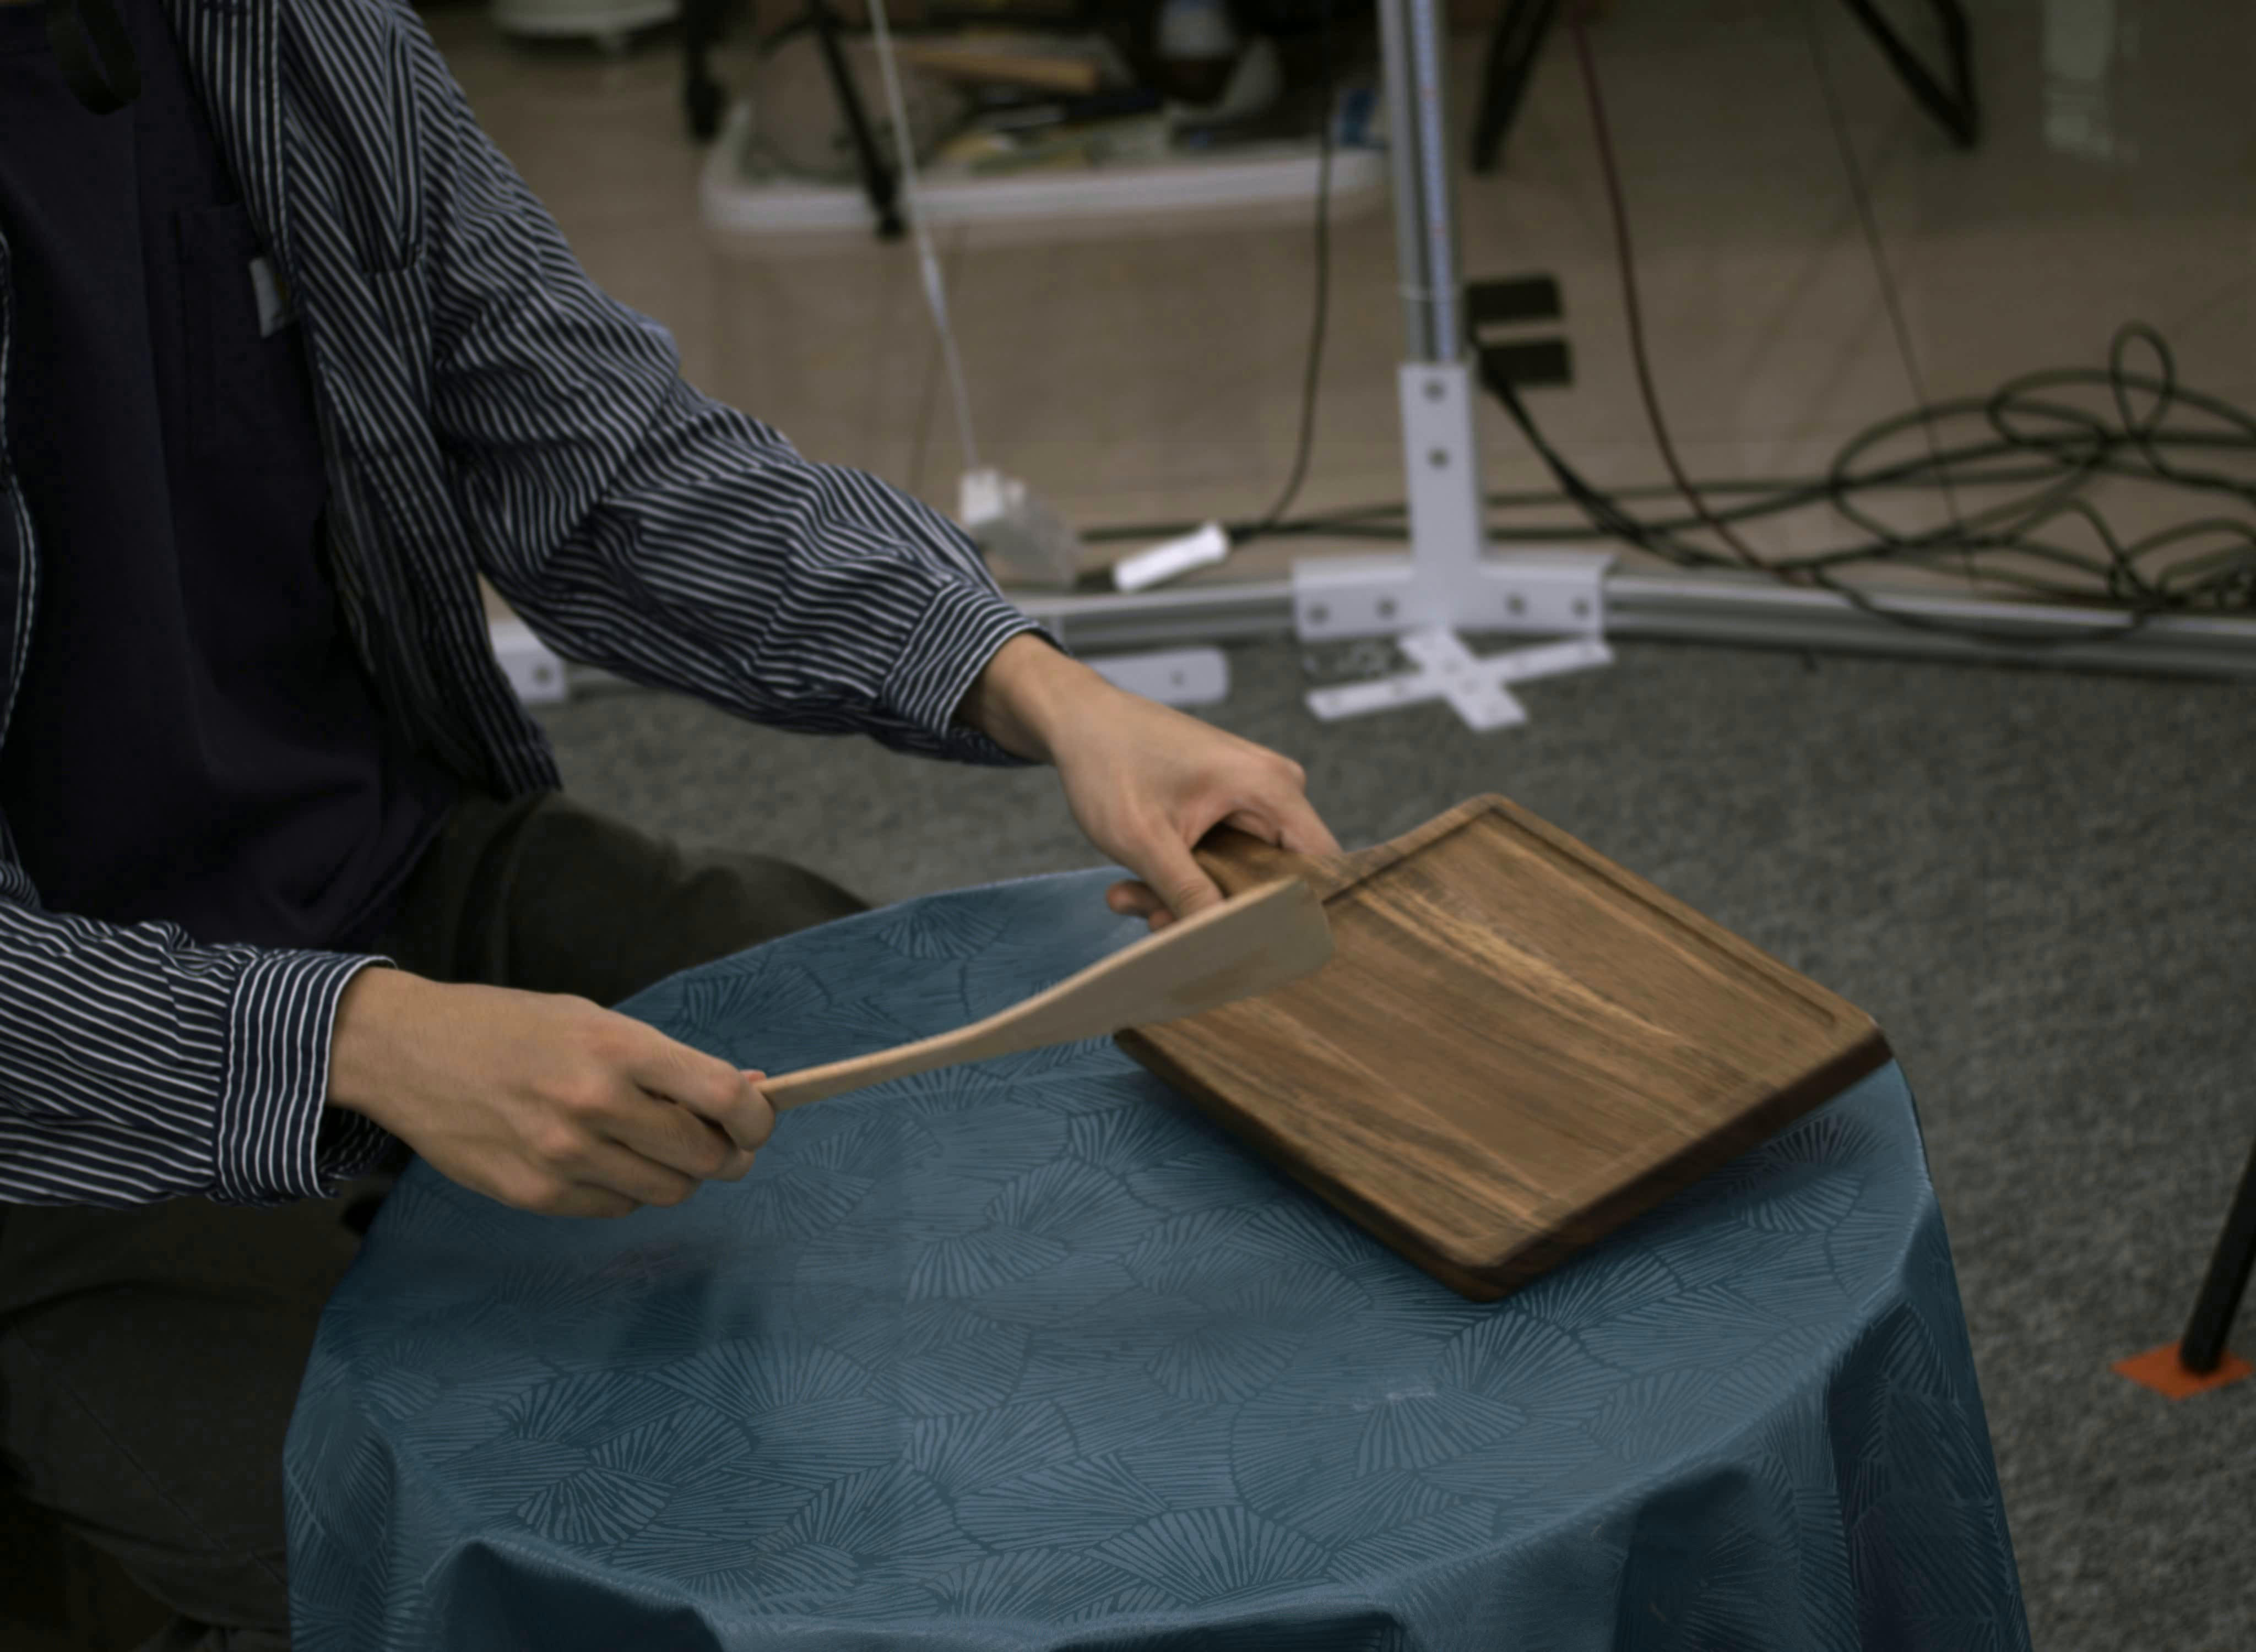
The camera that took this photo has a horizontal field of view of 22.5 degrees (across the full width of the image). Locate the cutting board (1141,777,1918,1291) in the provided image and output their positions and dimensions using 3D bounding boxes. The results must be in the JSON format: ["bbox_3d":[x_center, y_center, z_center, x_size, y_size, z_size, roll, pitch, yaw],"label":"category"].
[{"bbox_3d":[0.123,0.056,2.206,0.200,0.023,0.348,-28,36,-22],"label":"cutting board"}]

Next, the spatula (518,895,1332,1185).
[{"bbox_3d":[-0.076,0.084,2.075,0.328,0.081,0.016,-16,67,17],"label":"spatula"}]
